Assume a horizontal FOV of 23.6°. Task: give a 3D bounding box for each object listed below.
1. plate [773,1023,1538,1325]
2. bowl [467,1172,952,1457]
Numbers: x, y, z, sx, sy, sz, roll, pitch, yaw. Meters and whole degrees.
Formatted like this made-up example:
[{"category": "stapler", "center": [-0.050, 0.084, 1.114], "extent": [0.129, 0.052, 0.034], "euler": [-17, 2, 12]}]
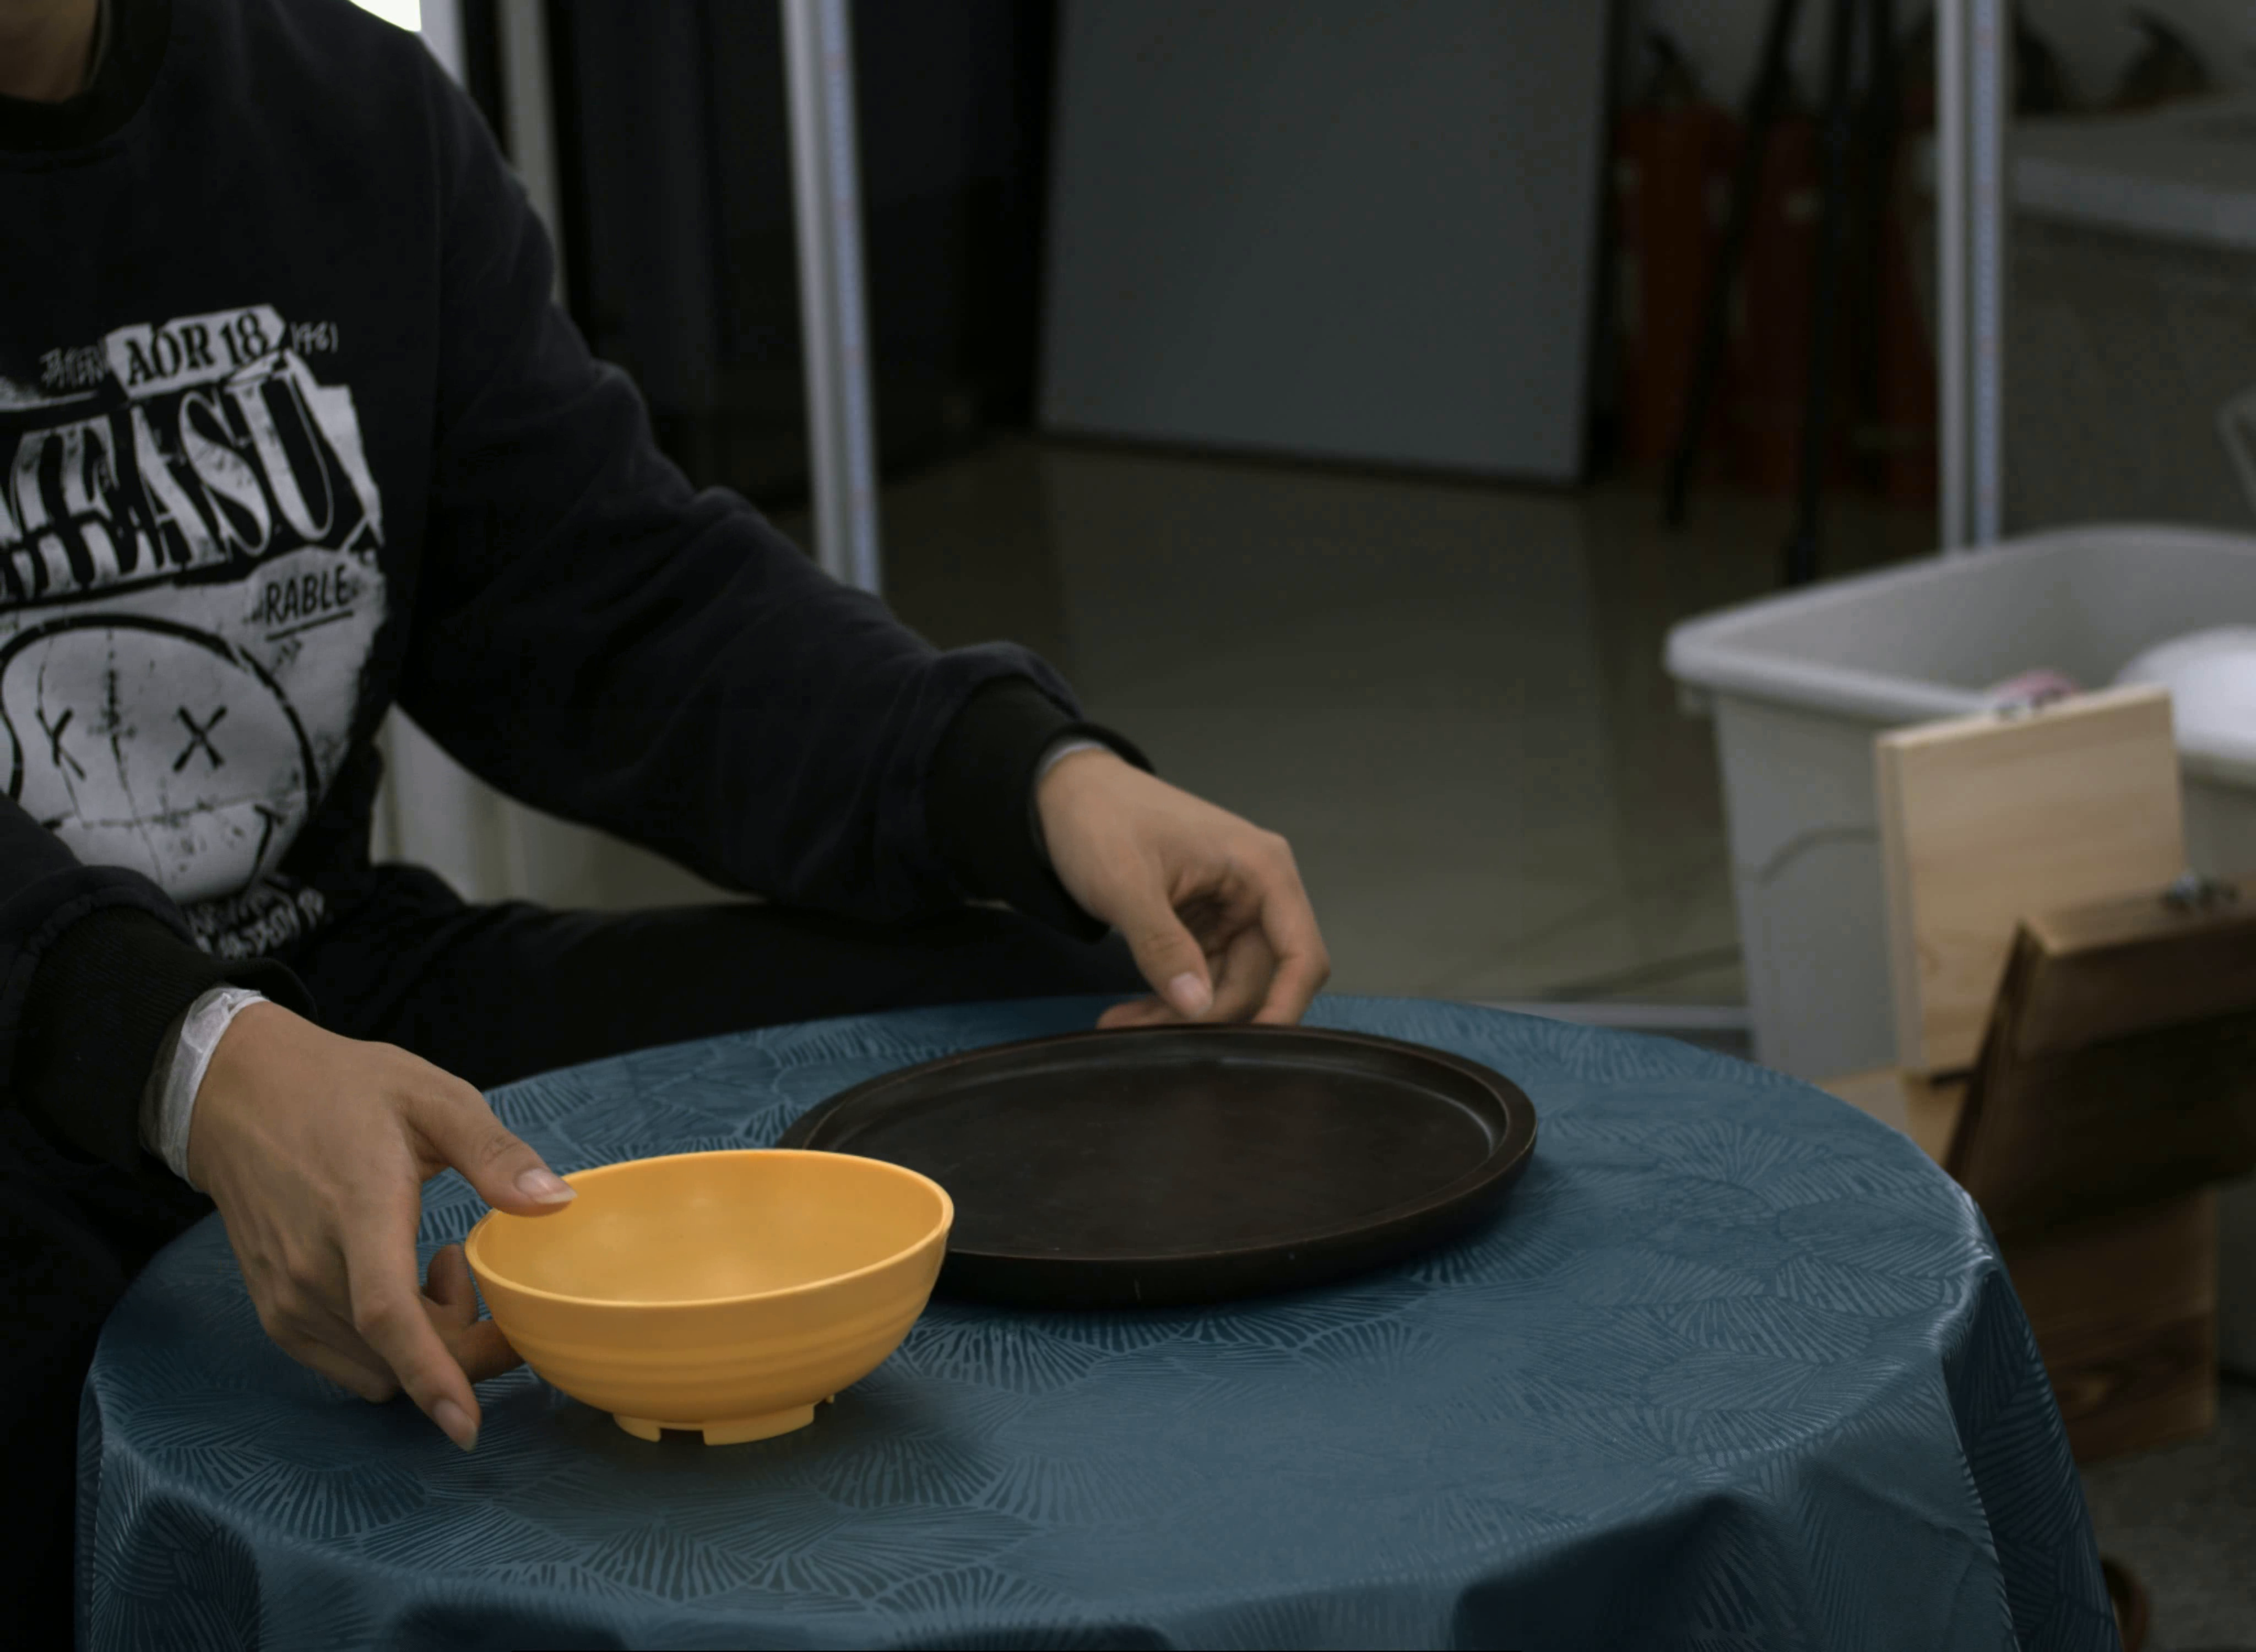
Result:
[{"category": "plate", "center": [0.010, 0.111, 1.763], "extent": [0.251, 0.029, 0.255], "euler": [-6, 14, 1]}, {"category": "bowl", "center": [-0.120, 0.147, 1.587], "extent": [0.143, 0.061, 0.145], "euler": [-4, 11, 0]}]
